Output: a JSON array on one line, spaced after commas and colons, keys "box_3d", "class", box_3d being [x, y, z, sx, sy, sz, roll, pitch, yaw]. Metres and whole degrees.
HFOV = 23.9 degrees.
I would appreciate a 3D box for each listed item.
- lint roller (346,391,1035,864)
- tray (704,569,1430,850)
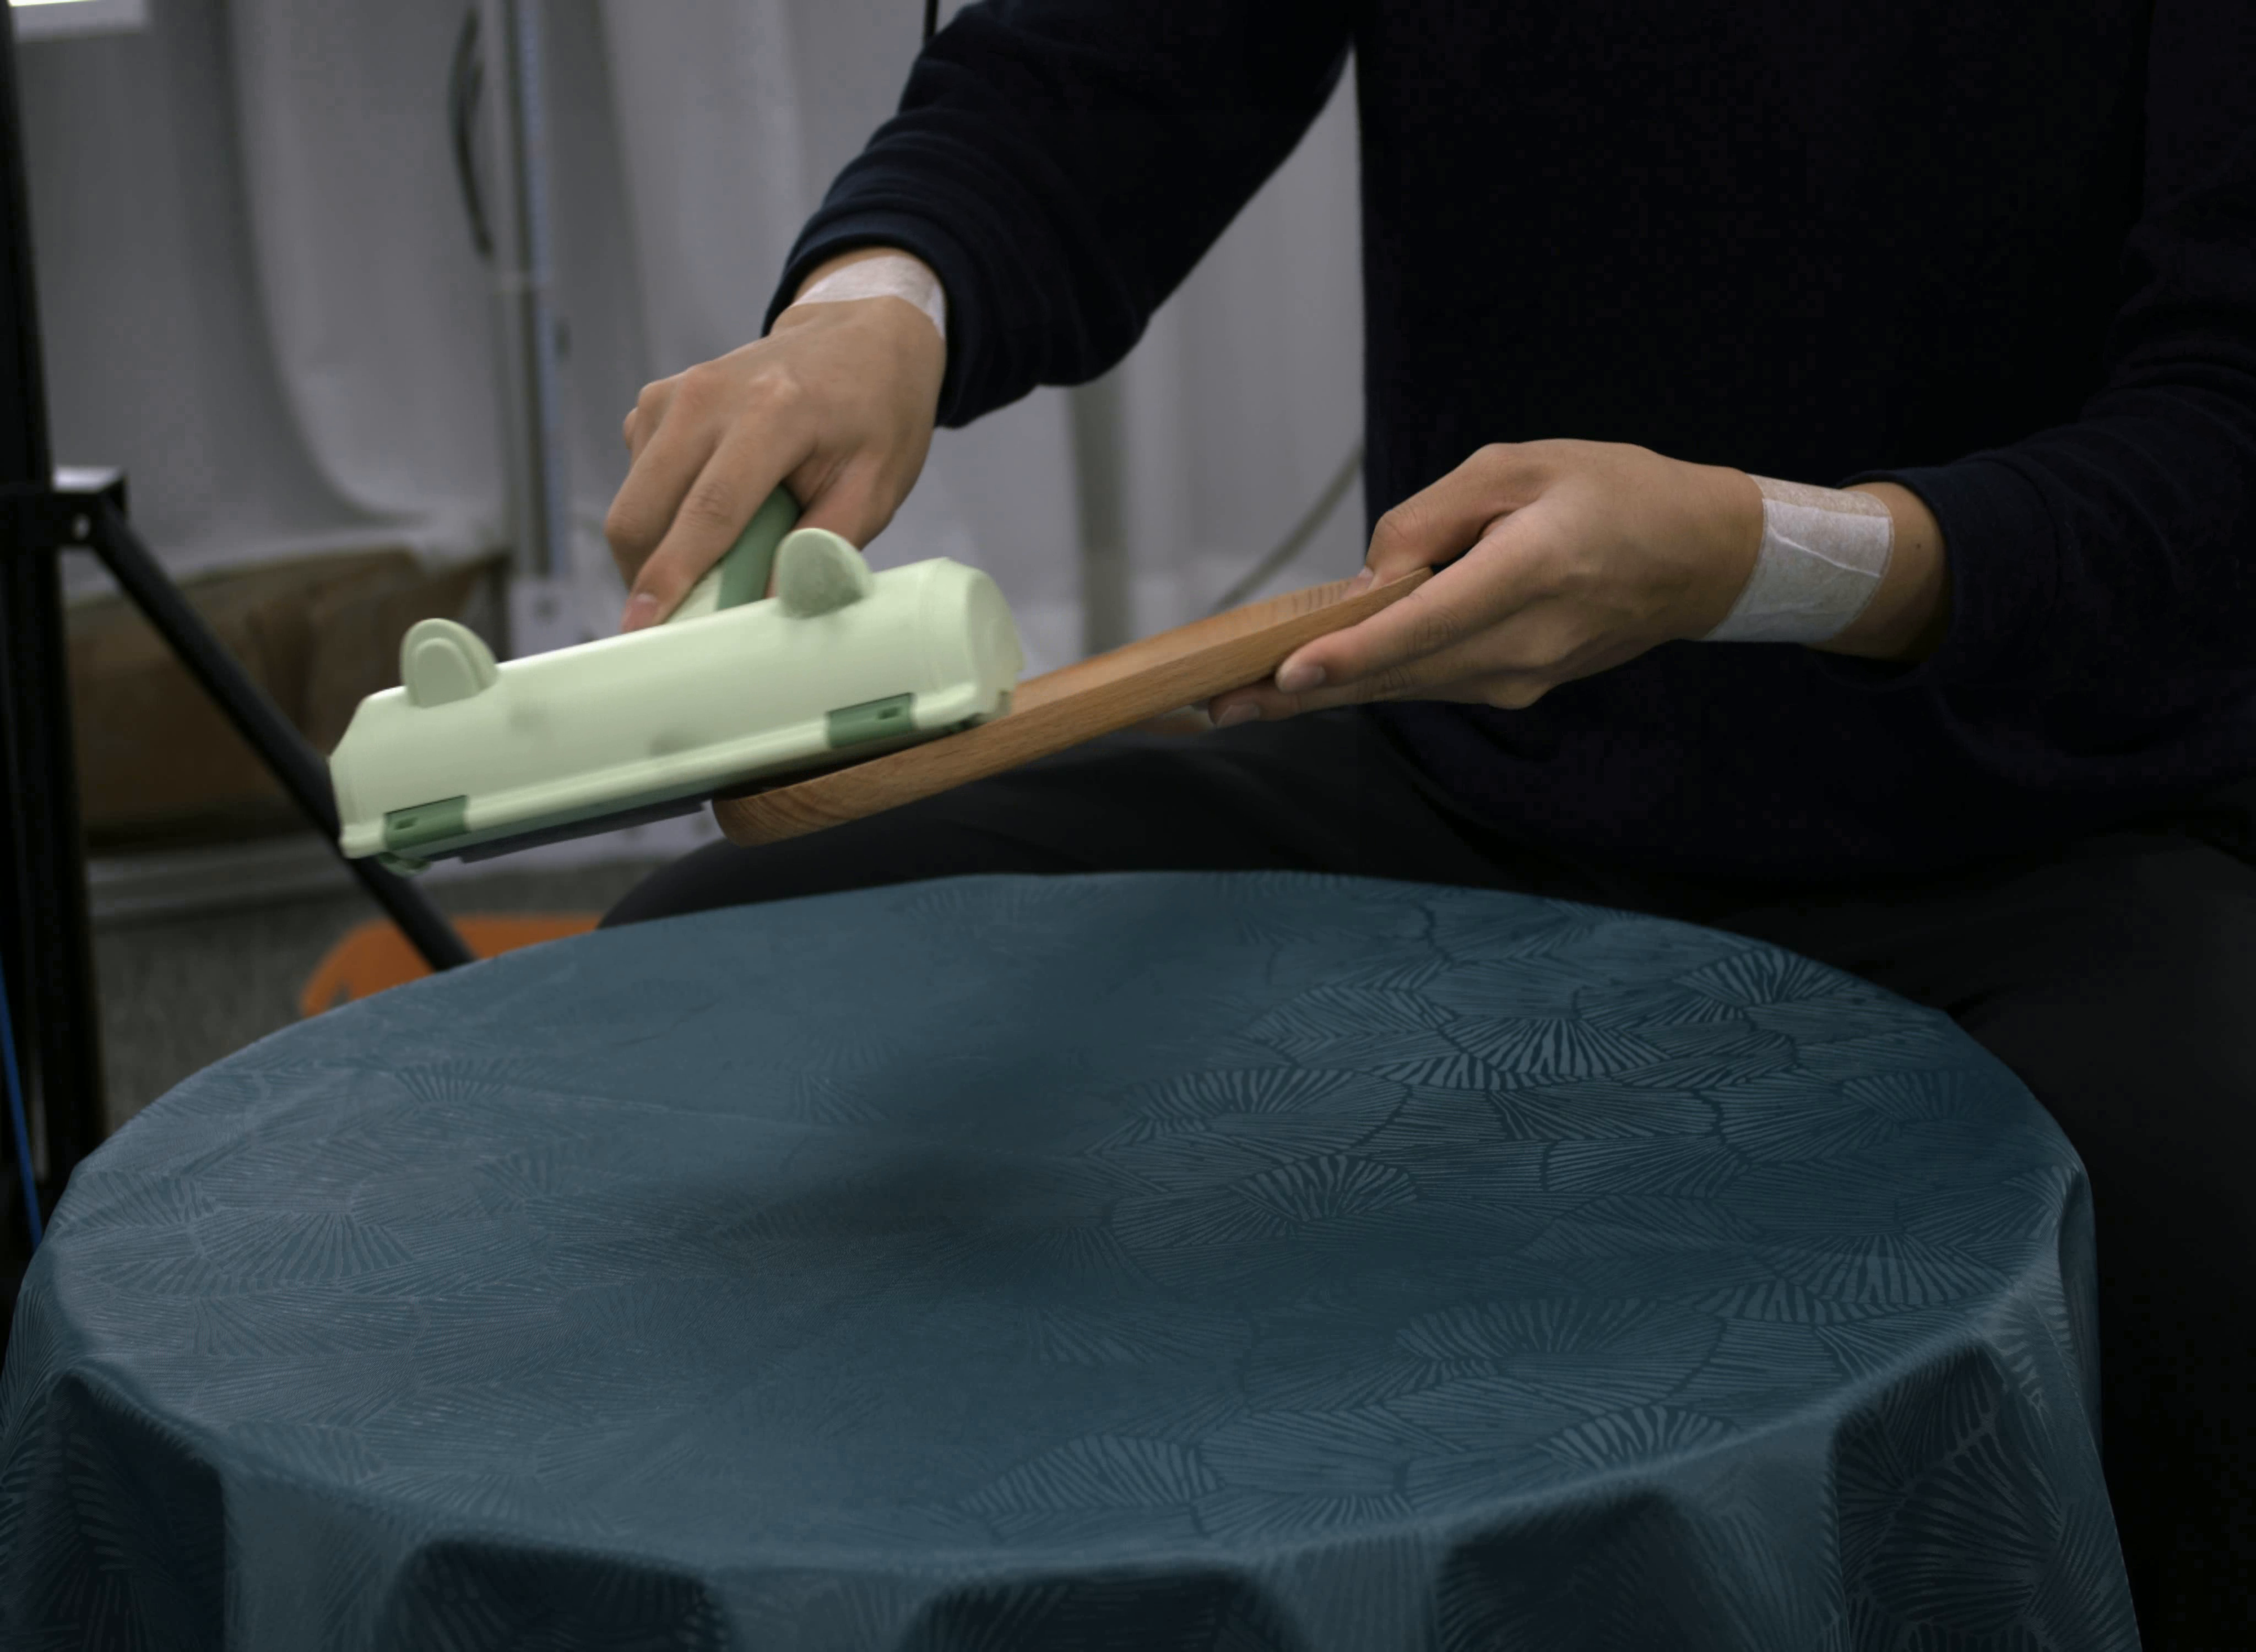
[{"box_3d": [-0.125, -0.079, 1.541, 0.200, 0.081, 0.185, -13, 46, 17], "class": "lint roller"}, {"box_3d": [-0.014, -0.034, 1.520, 0.227, 0.020, 0.103, -21, 5, -26], "class": "tray"}]
